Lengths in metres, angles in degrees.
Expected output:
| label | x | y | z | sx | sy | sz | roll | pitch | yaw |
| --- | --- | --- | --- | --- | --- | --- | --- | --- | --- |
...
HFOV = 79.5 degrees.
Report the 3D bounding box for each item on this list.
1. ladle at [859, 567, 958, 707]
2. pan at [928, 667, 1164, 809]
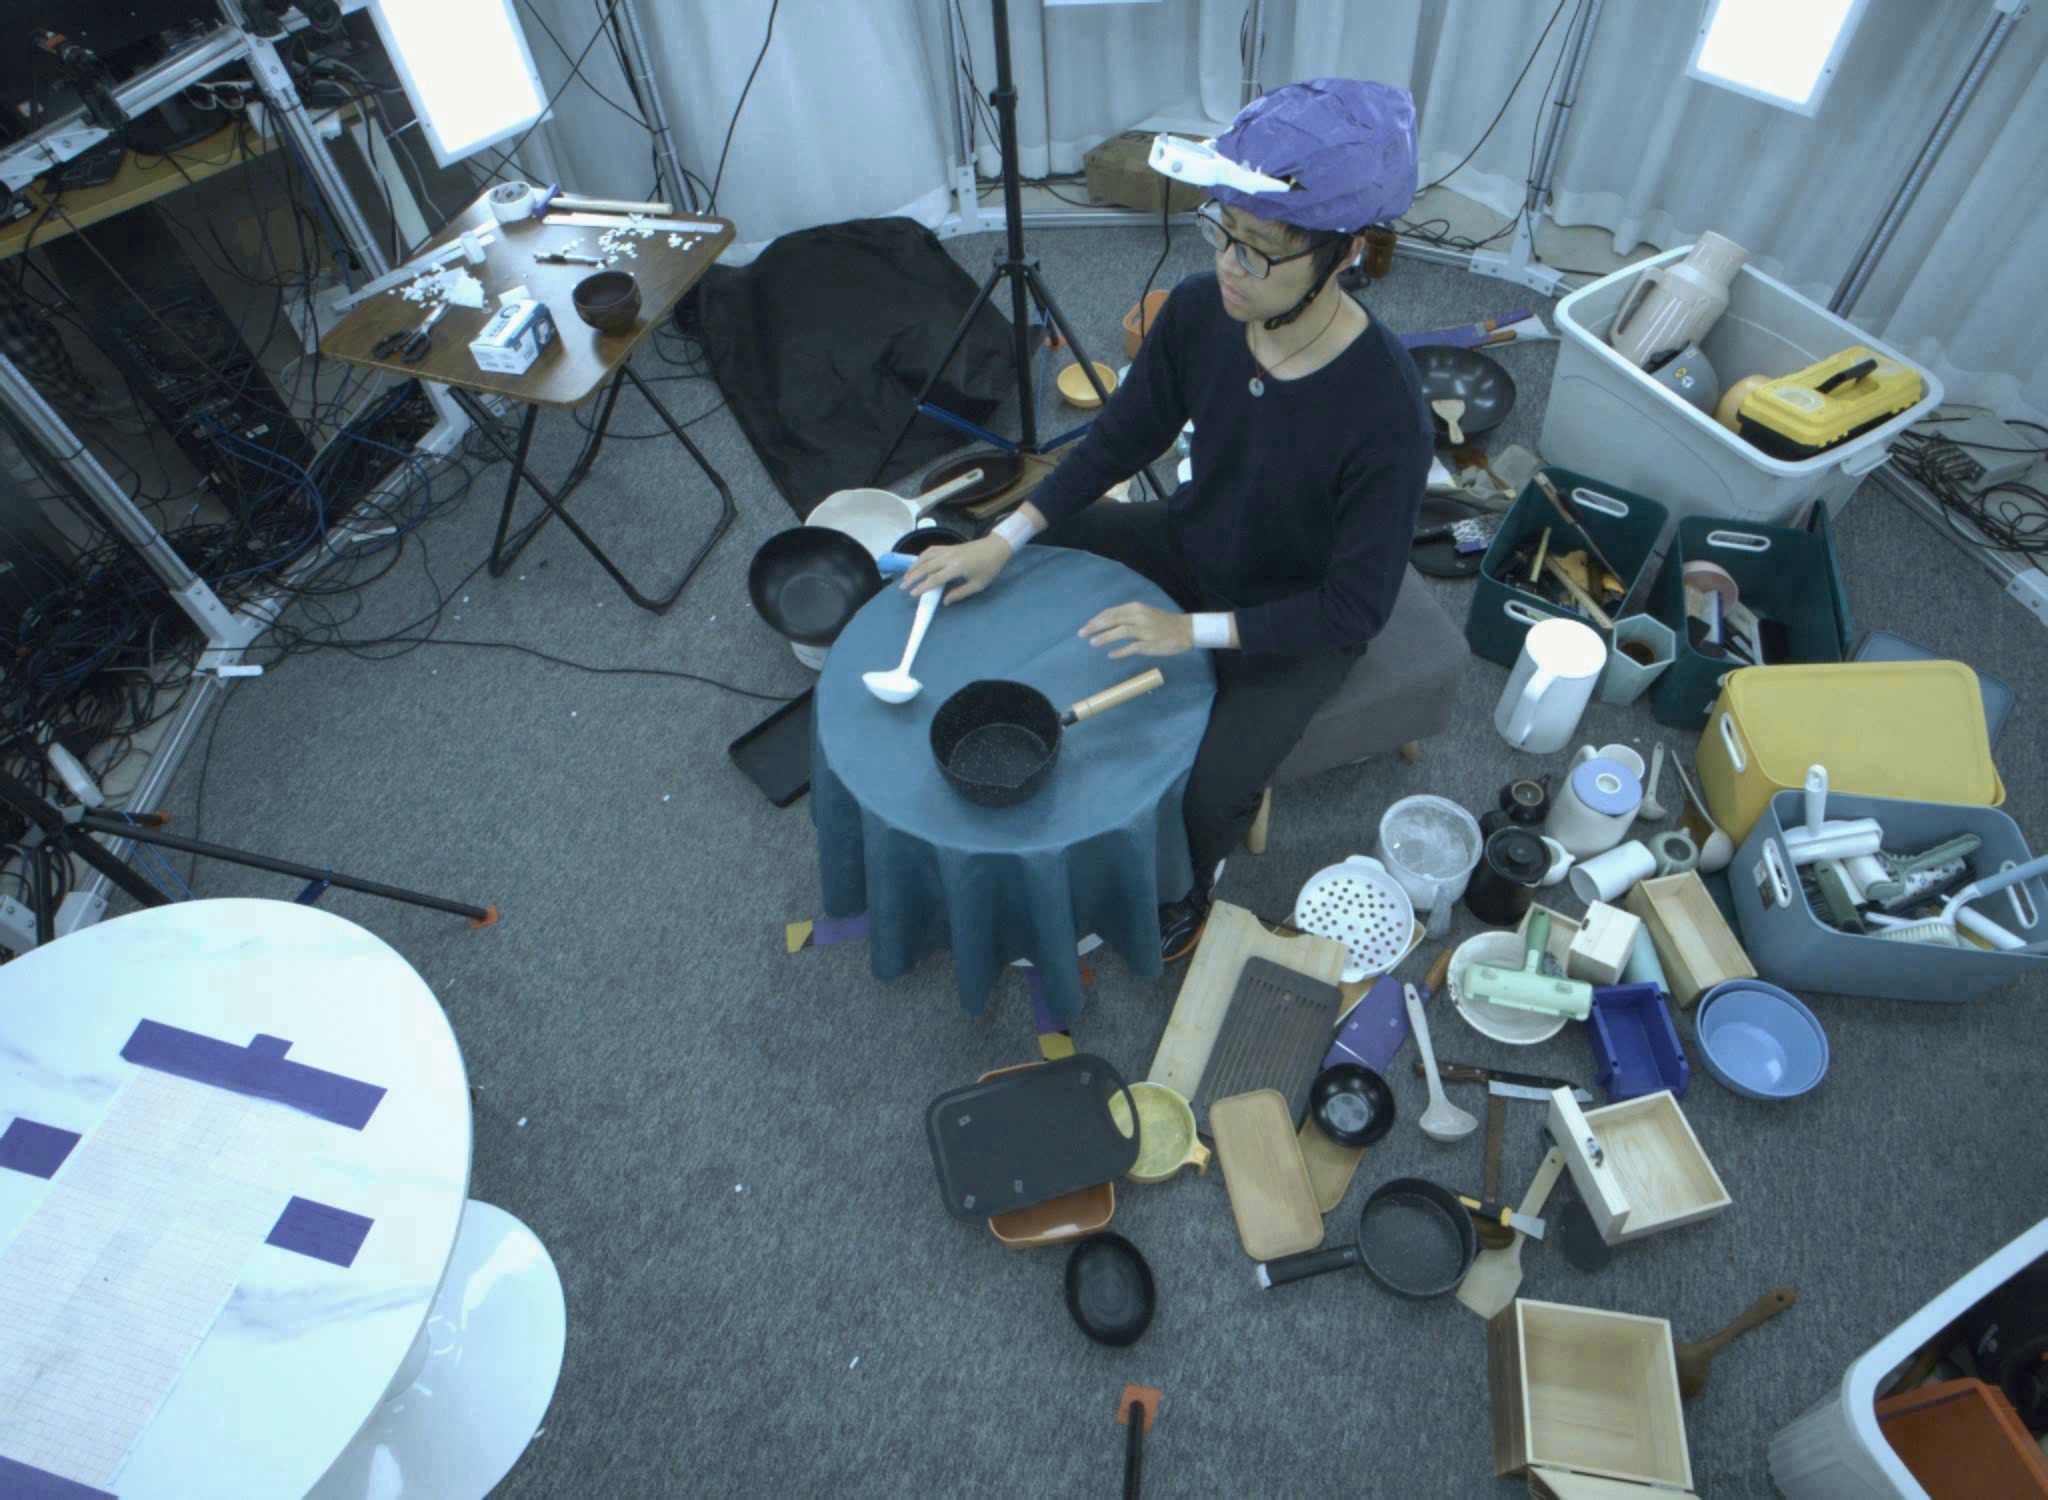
| label | x | y | z | sx | sy | sz | roll | pitch | yaw |
| --- | --- | --- | --- | --- | --- | --- | --- | --- | --- |
| ladle | -0.166 | -0.182 | 1.884 | 0.089 | 0.070 | 0.292 | 15 | 58 | 9 |
| pan | 0.036 | -0.033 | 1.743 | 0.344 | 0.109 | 0.204 | -18 | 55 | -9 |
